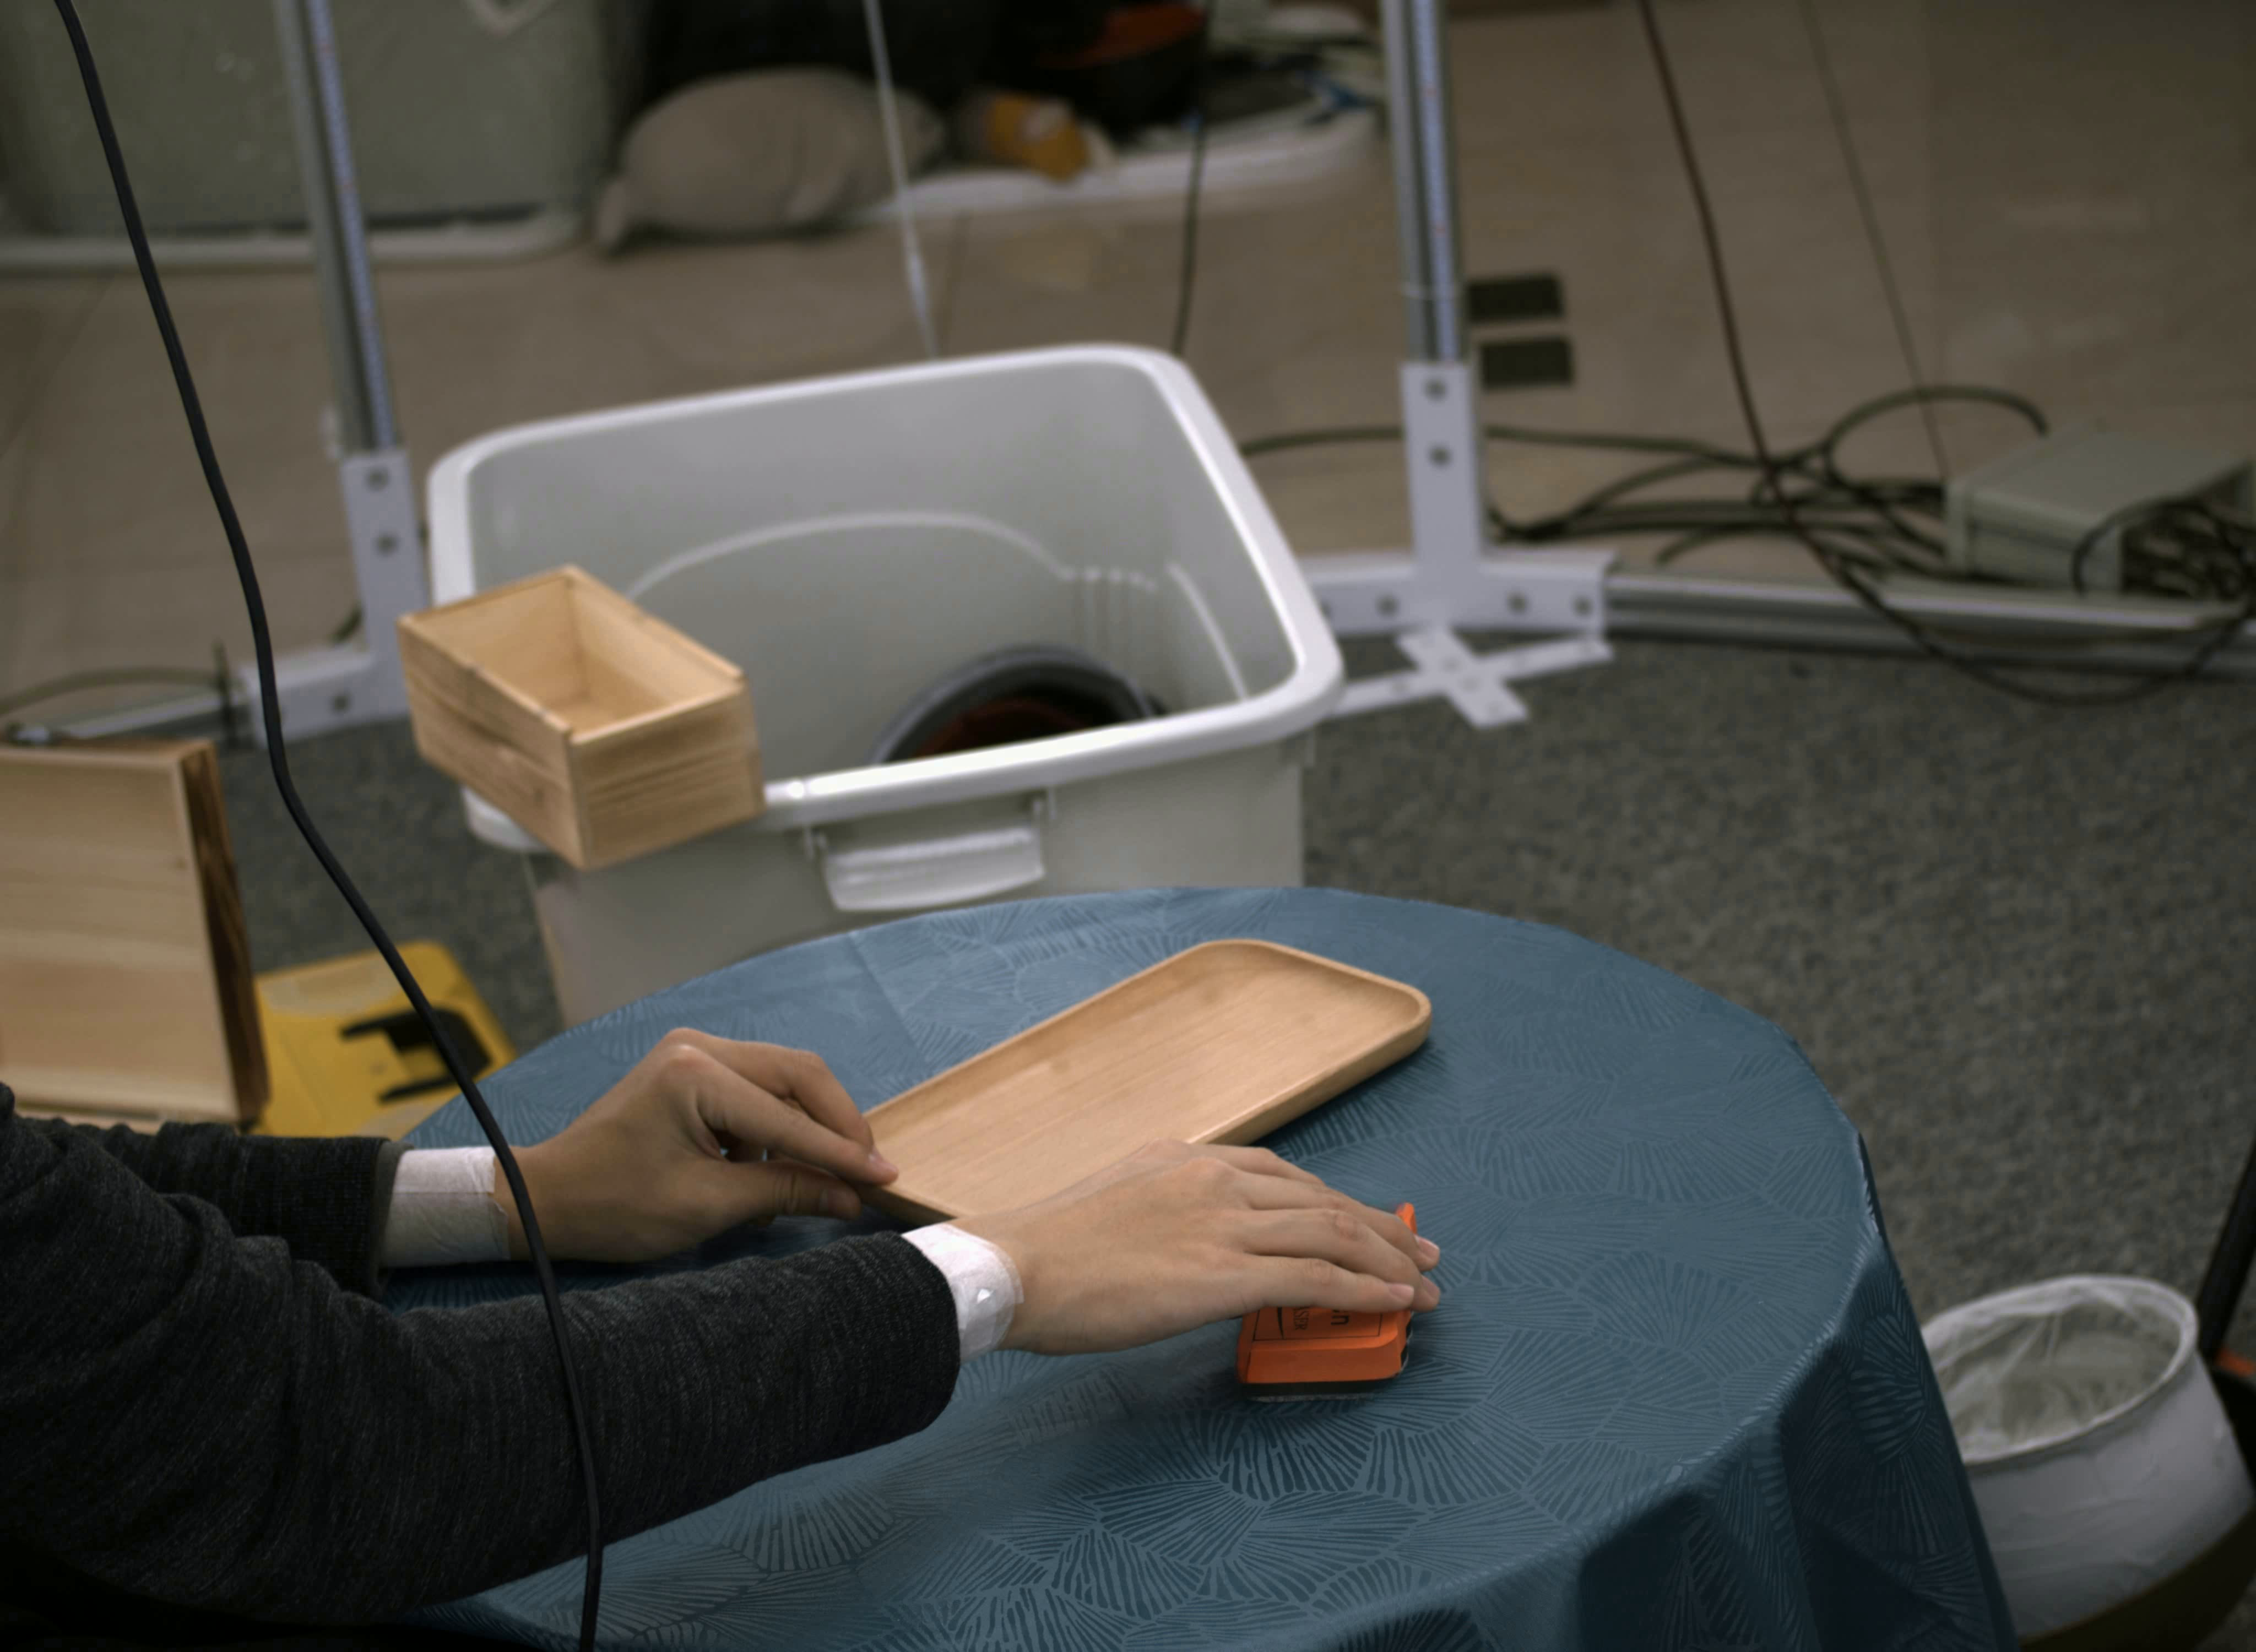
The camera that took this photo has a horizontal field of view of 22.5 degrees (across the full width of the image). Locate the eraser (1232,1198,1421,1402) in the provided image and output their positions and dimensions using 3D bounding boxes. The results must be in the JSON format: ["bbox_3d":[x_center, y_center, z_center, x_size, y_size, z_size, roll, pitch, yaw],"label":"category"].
[{"bbox_3d":[0.072,0.169,2.037,0.059,0.023,0.106,-4,25,11],"label":"eraser"}]

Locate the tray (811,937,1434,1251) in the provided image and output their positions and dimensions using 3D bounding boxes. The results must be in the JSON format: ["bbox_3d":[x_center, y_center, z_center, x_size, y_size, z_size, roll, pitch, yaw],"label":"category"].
[{"bbox_3d":[0.000,0.102,2.193,0.129,0.023,0.248,16,31,43],"label":"tray"}]
